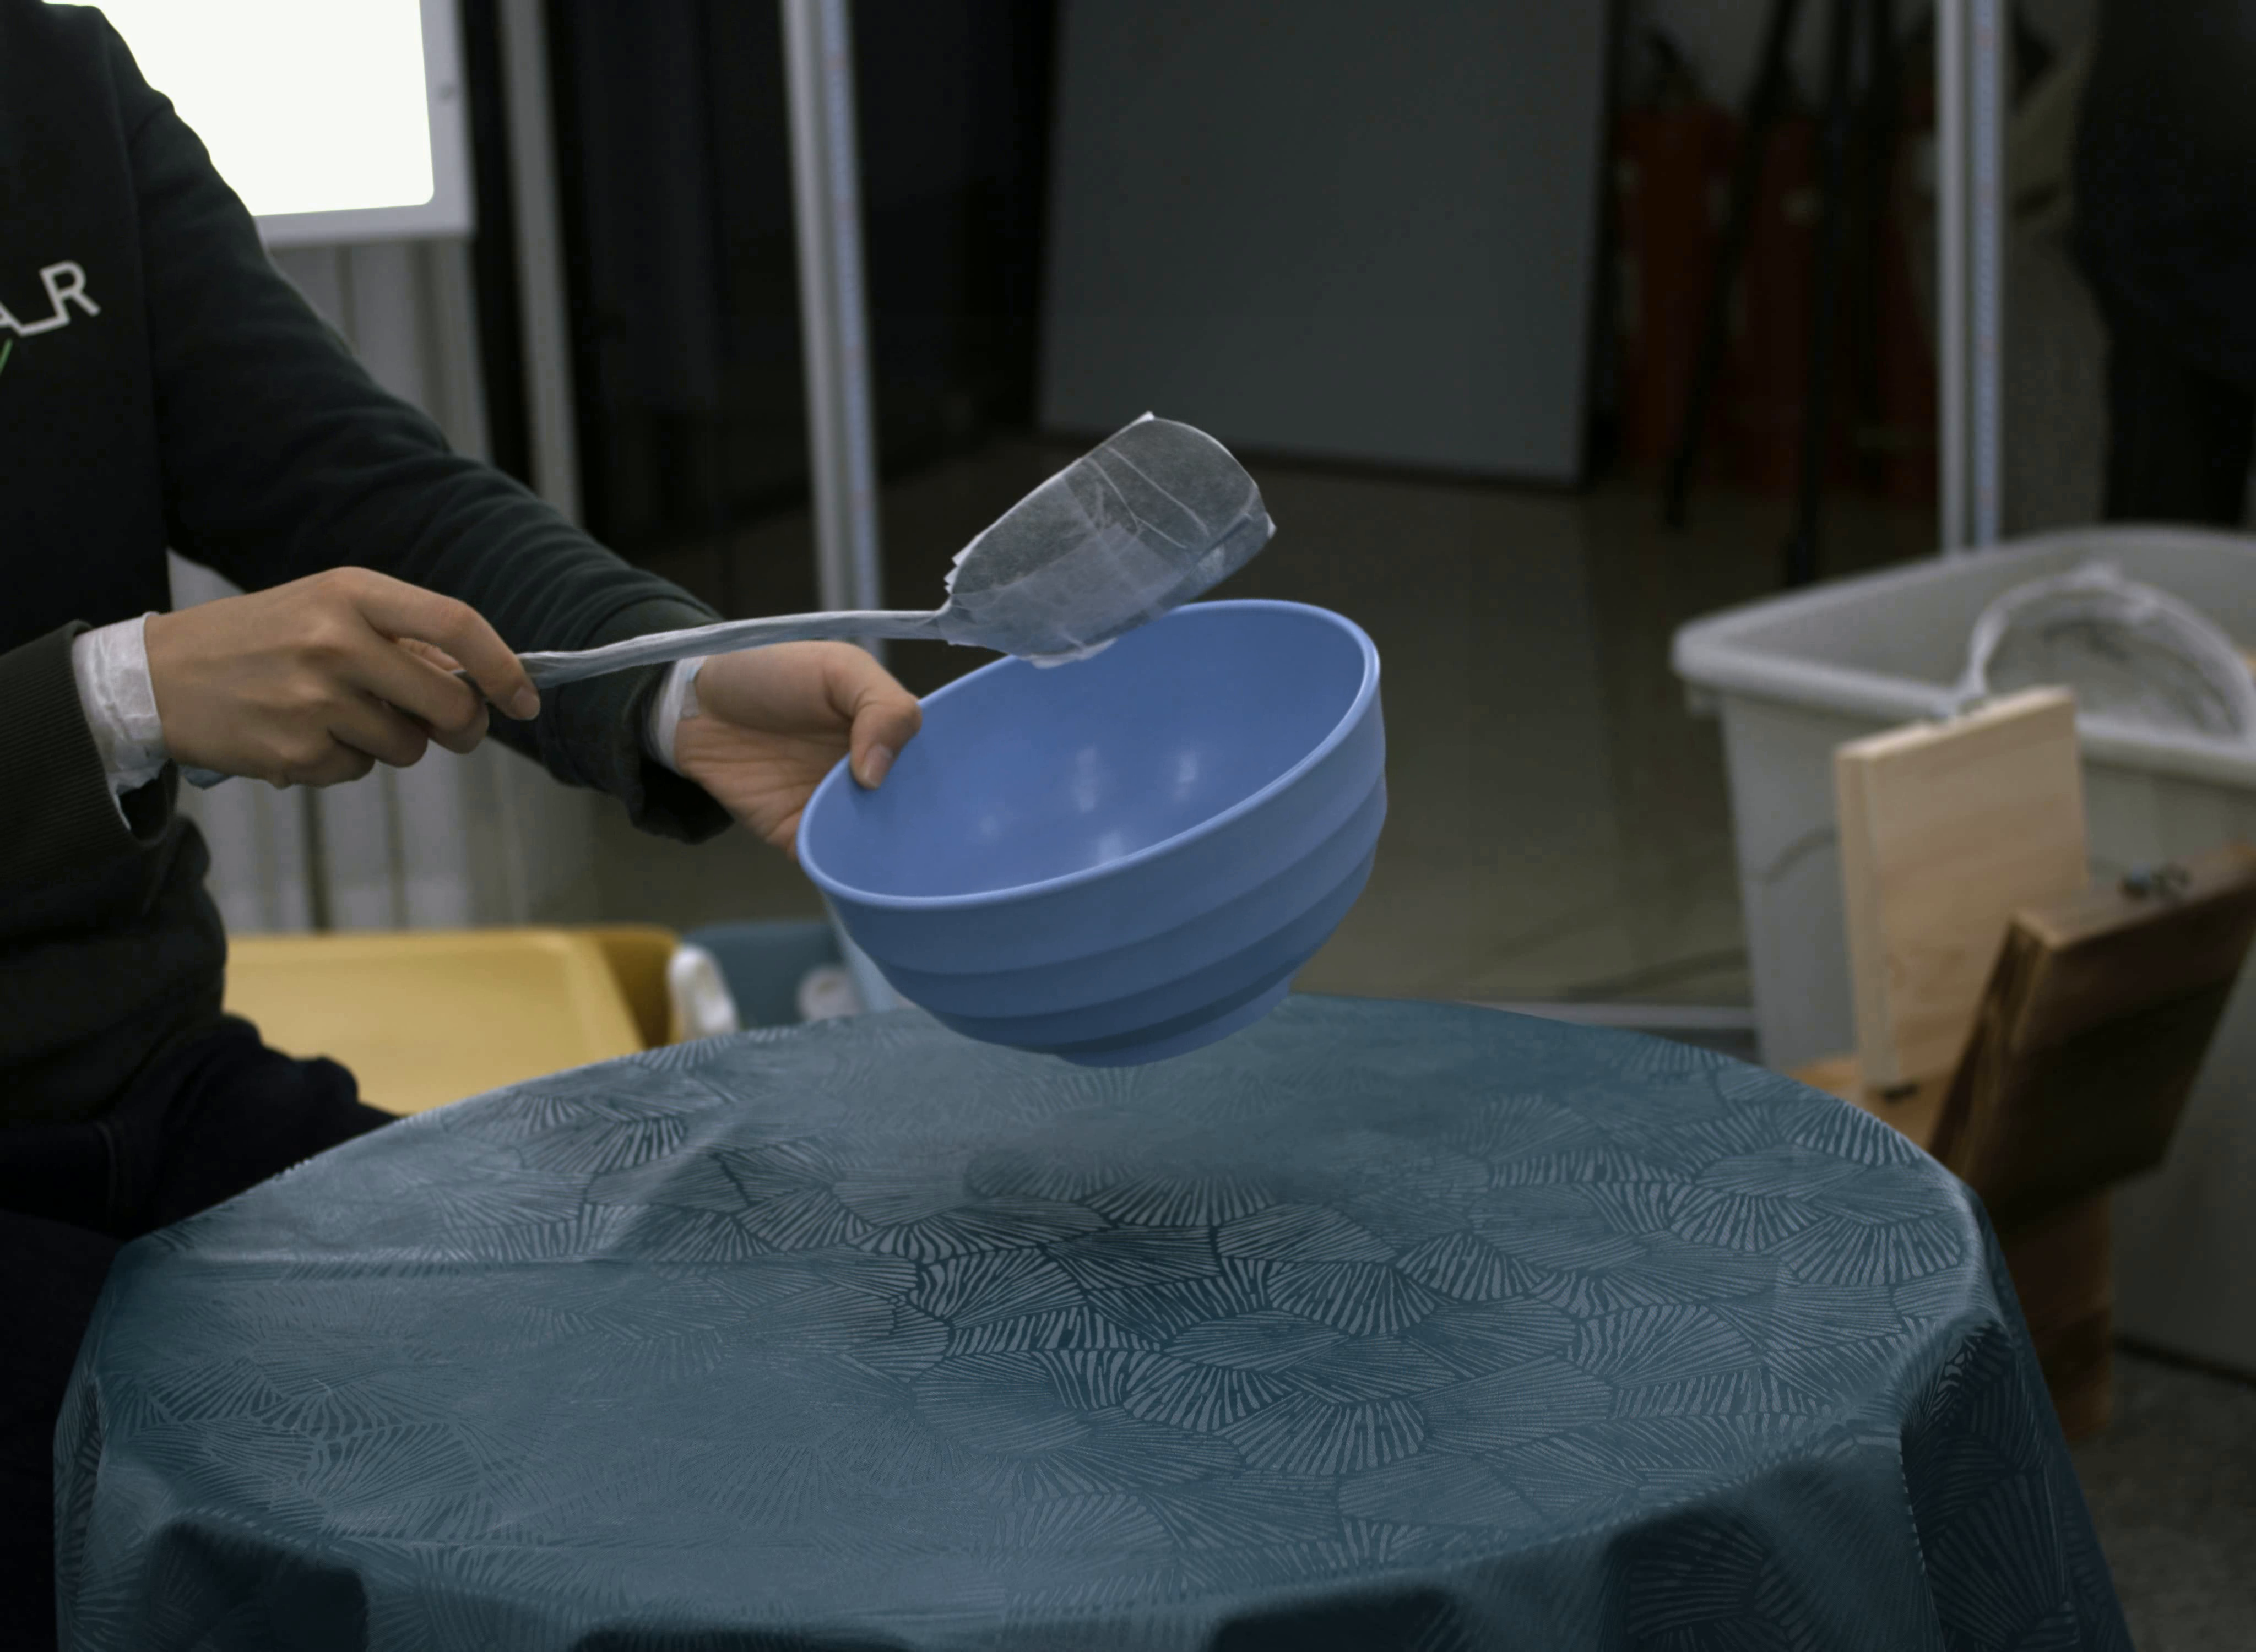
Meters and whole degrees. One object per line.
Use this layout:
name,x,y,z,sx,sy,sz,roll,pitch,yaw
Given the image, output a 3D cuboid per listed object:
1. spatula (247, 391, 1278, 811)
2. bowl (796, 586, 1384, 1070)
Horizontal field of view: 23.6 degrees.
spatula,-0.126,-0.063,1.710,0.364,0.045,0.097,-12,-27,21
bowl,0.000,0.013,1.724,0.195,0.096,0.197,-18,24,7
